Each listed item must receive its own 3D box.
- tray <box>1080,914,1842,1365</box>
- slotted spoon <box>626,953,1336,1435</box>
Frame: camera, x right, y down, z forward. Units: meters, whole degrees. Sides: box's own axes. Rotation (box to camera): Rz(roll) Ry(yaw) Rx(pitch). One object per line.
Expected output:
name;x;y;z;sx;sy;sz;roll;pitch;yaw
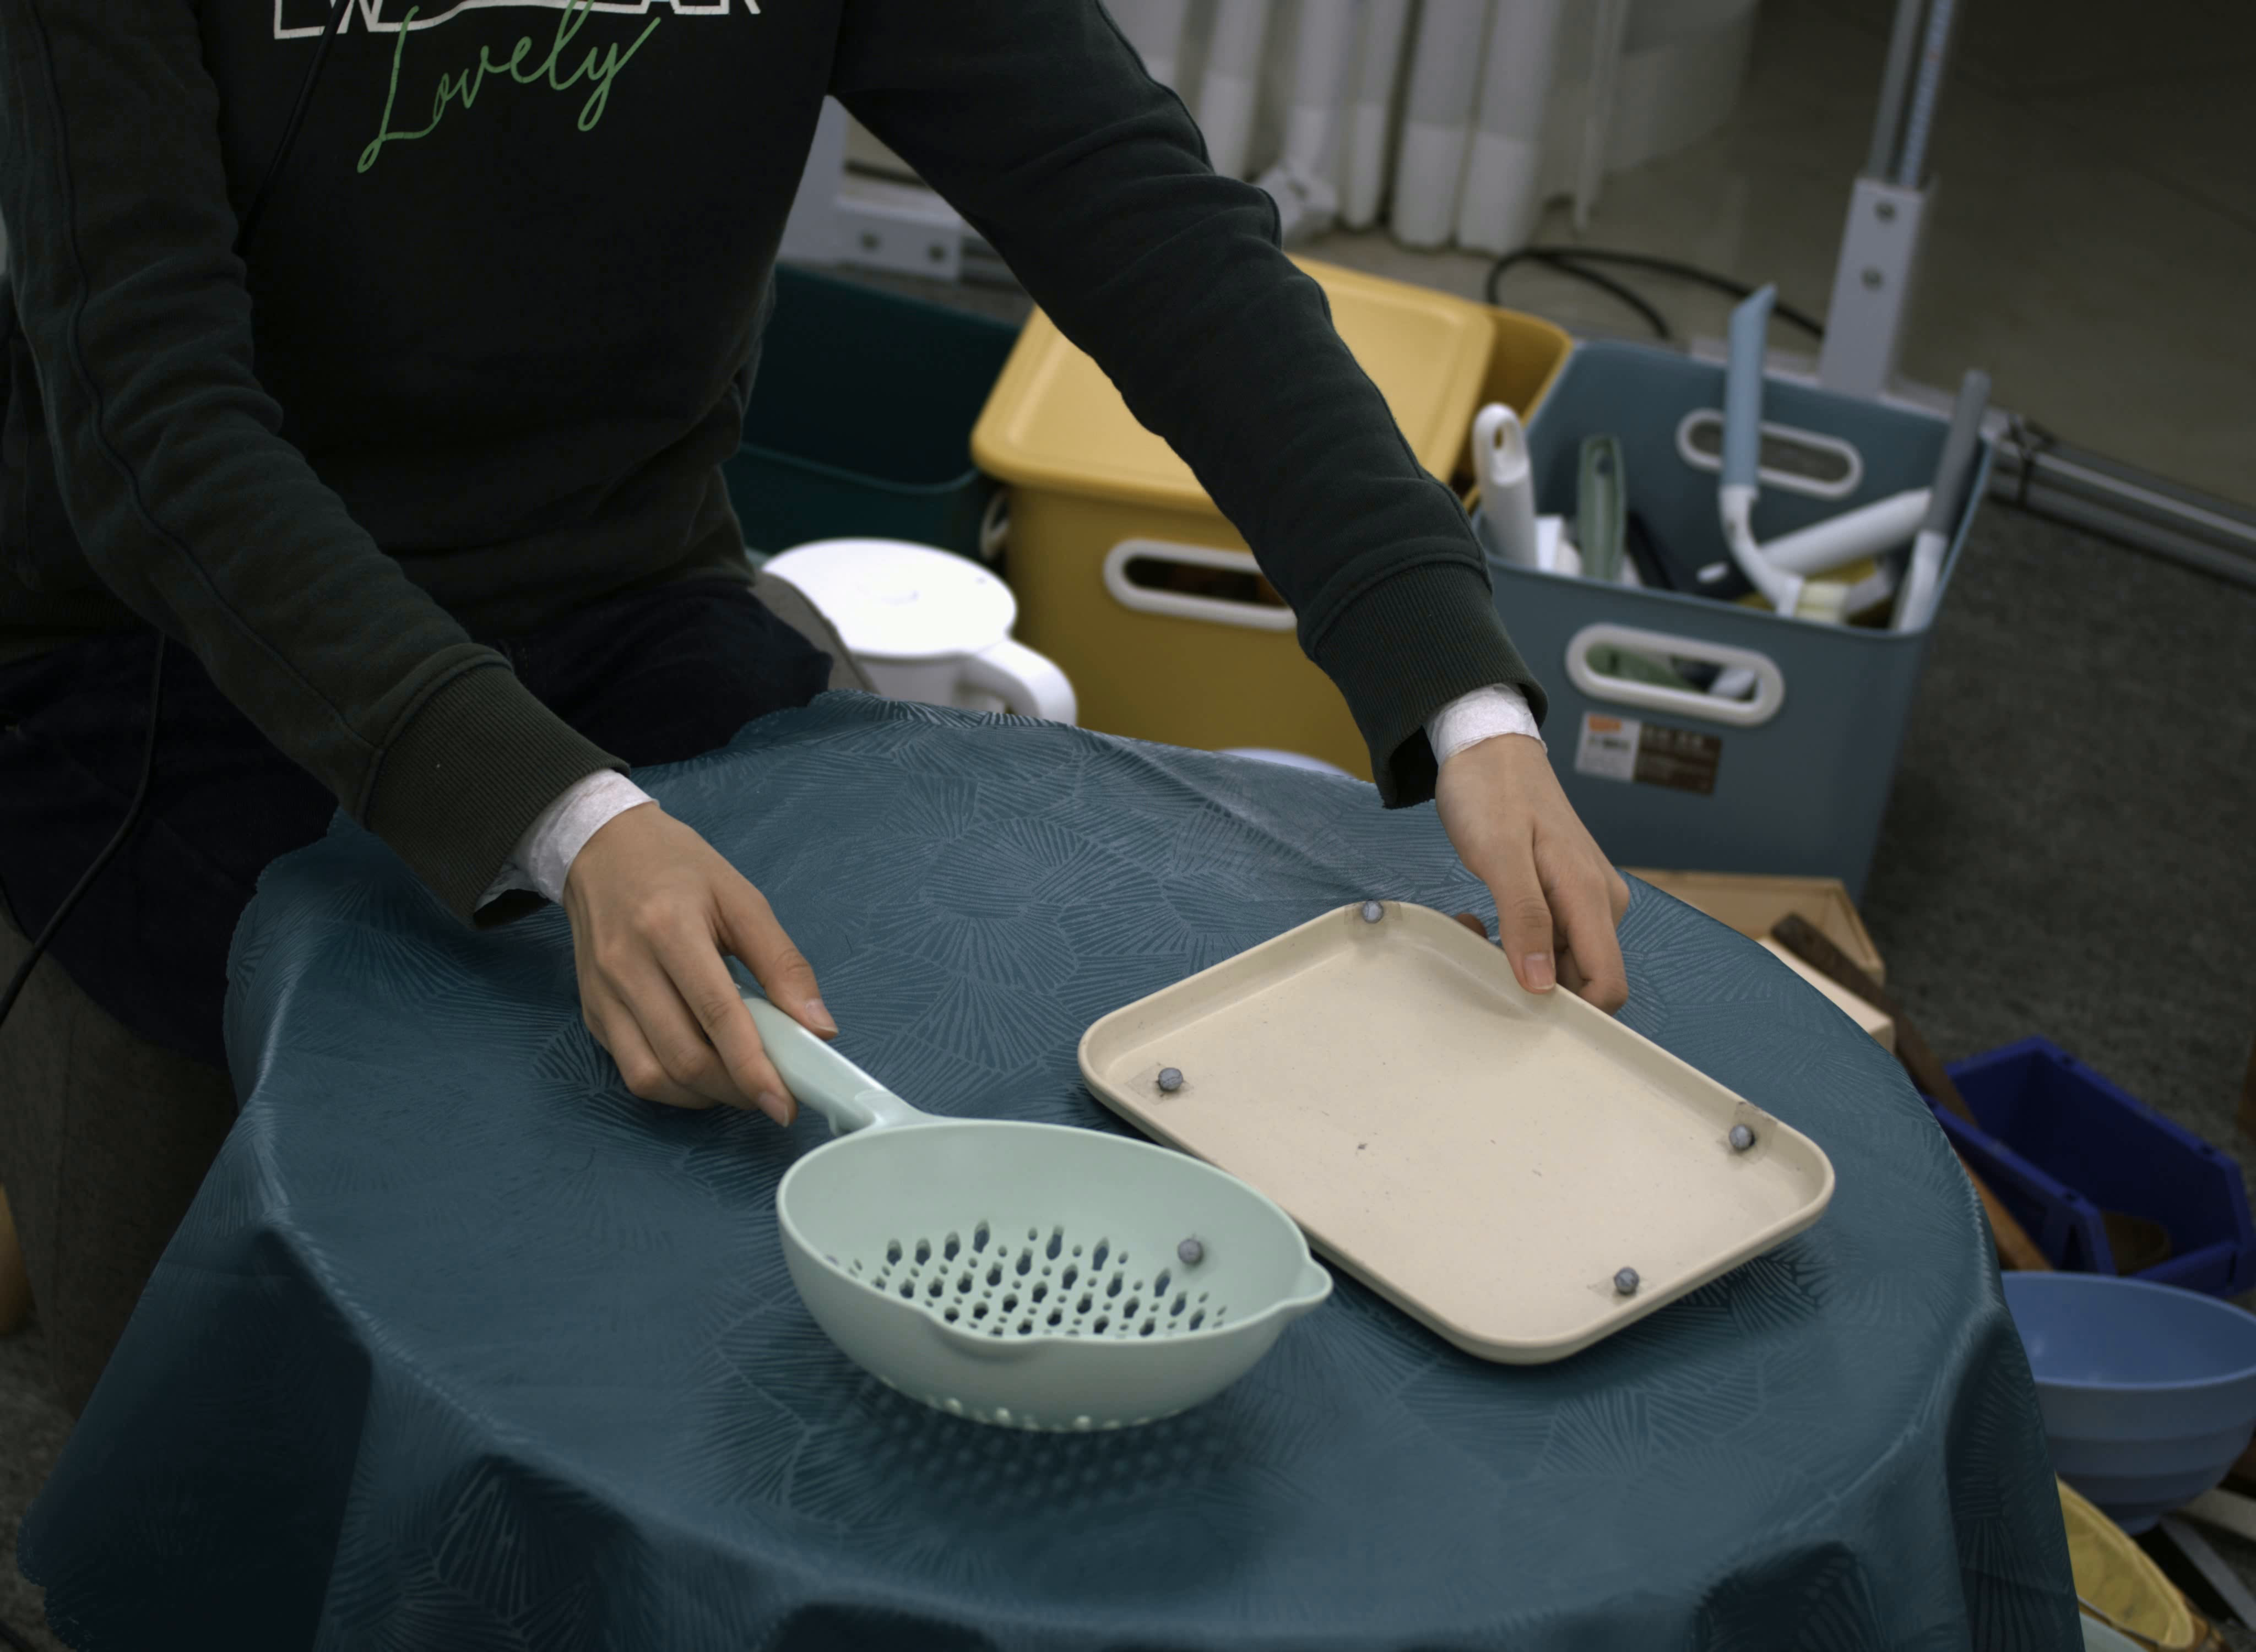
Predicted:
tray;0.112;0.105;1.825;0.170;0.017;0.241;-23;38;-34
slotted spoon;-0.078;0.105;1.745;0.168;0.075;0.362;-3;29;-32
